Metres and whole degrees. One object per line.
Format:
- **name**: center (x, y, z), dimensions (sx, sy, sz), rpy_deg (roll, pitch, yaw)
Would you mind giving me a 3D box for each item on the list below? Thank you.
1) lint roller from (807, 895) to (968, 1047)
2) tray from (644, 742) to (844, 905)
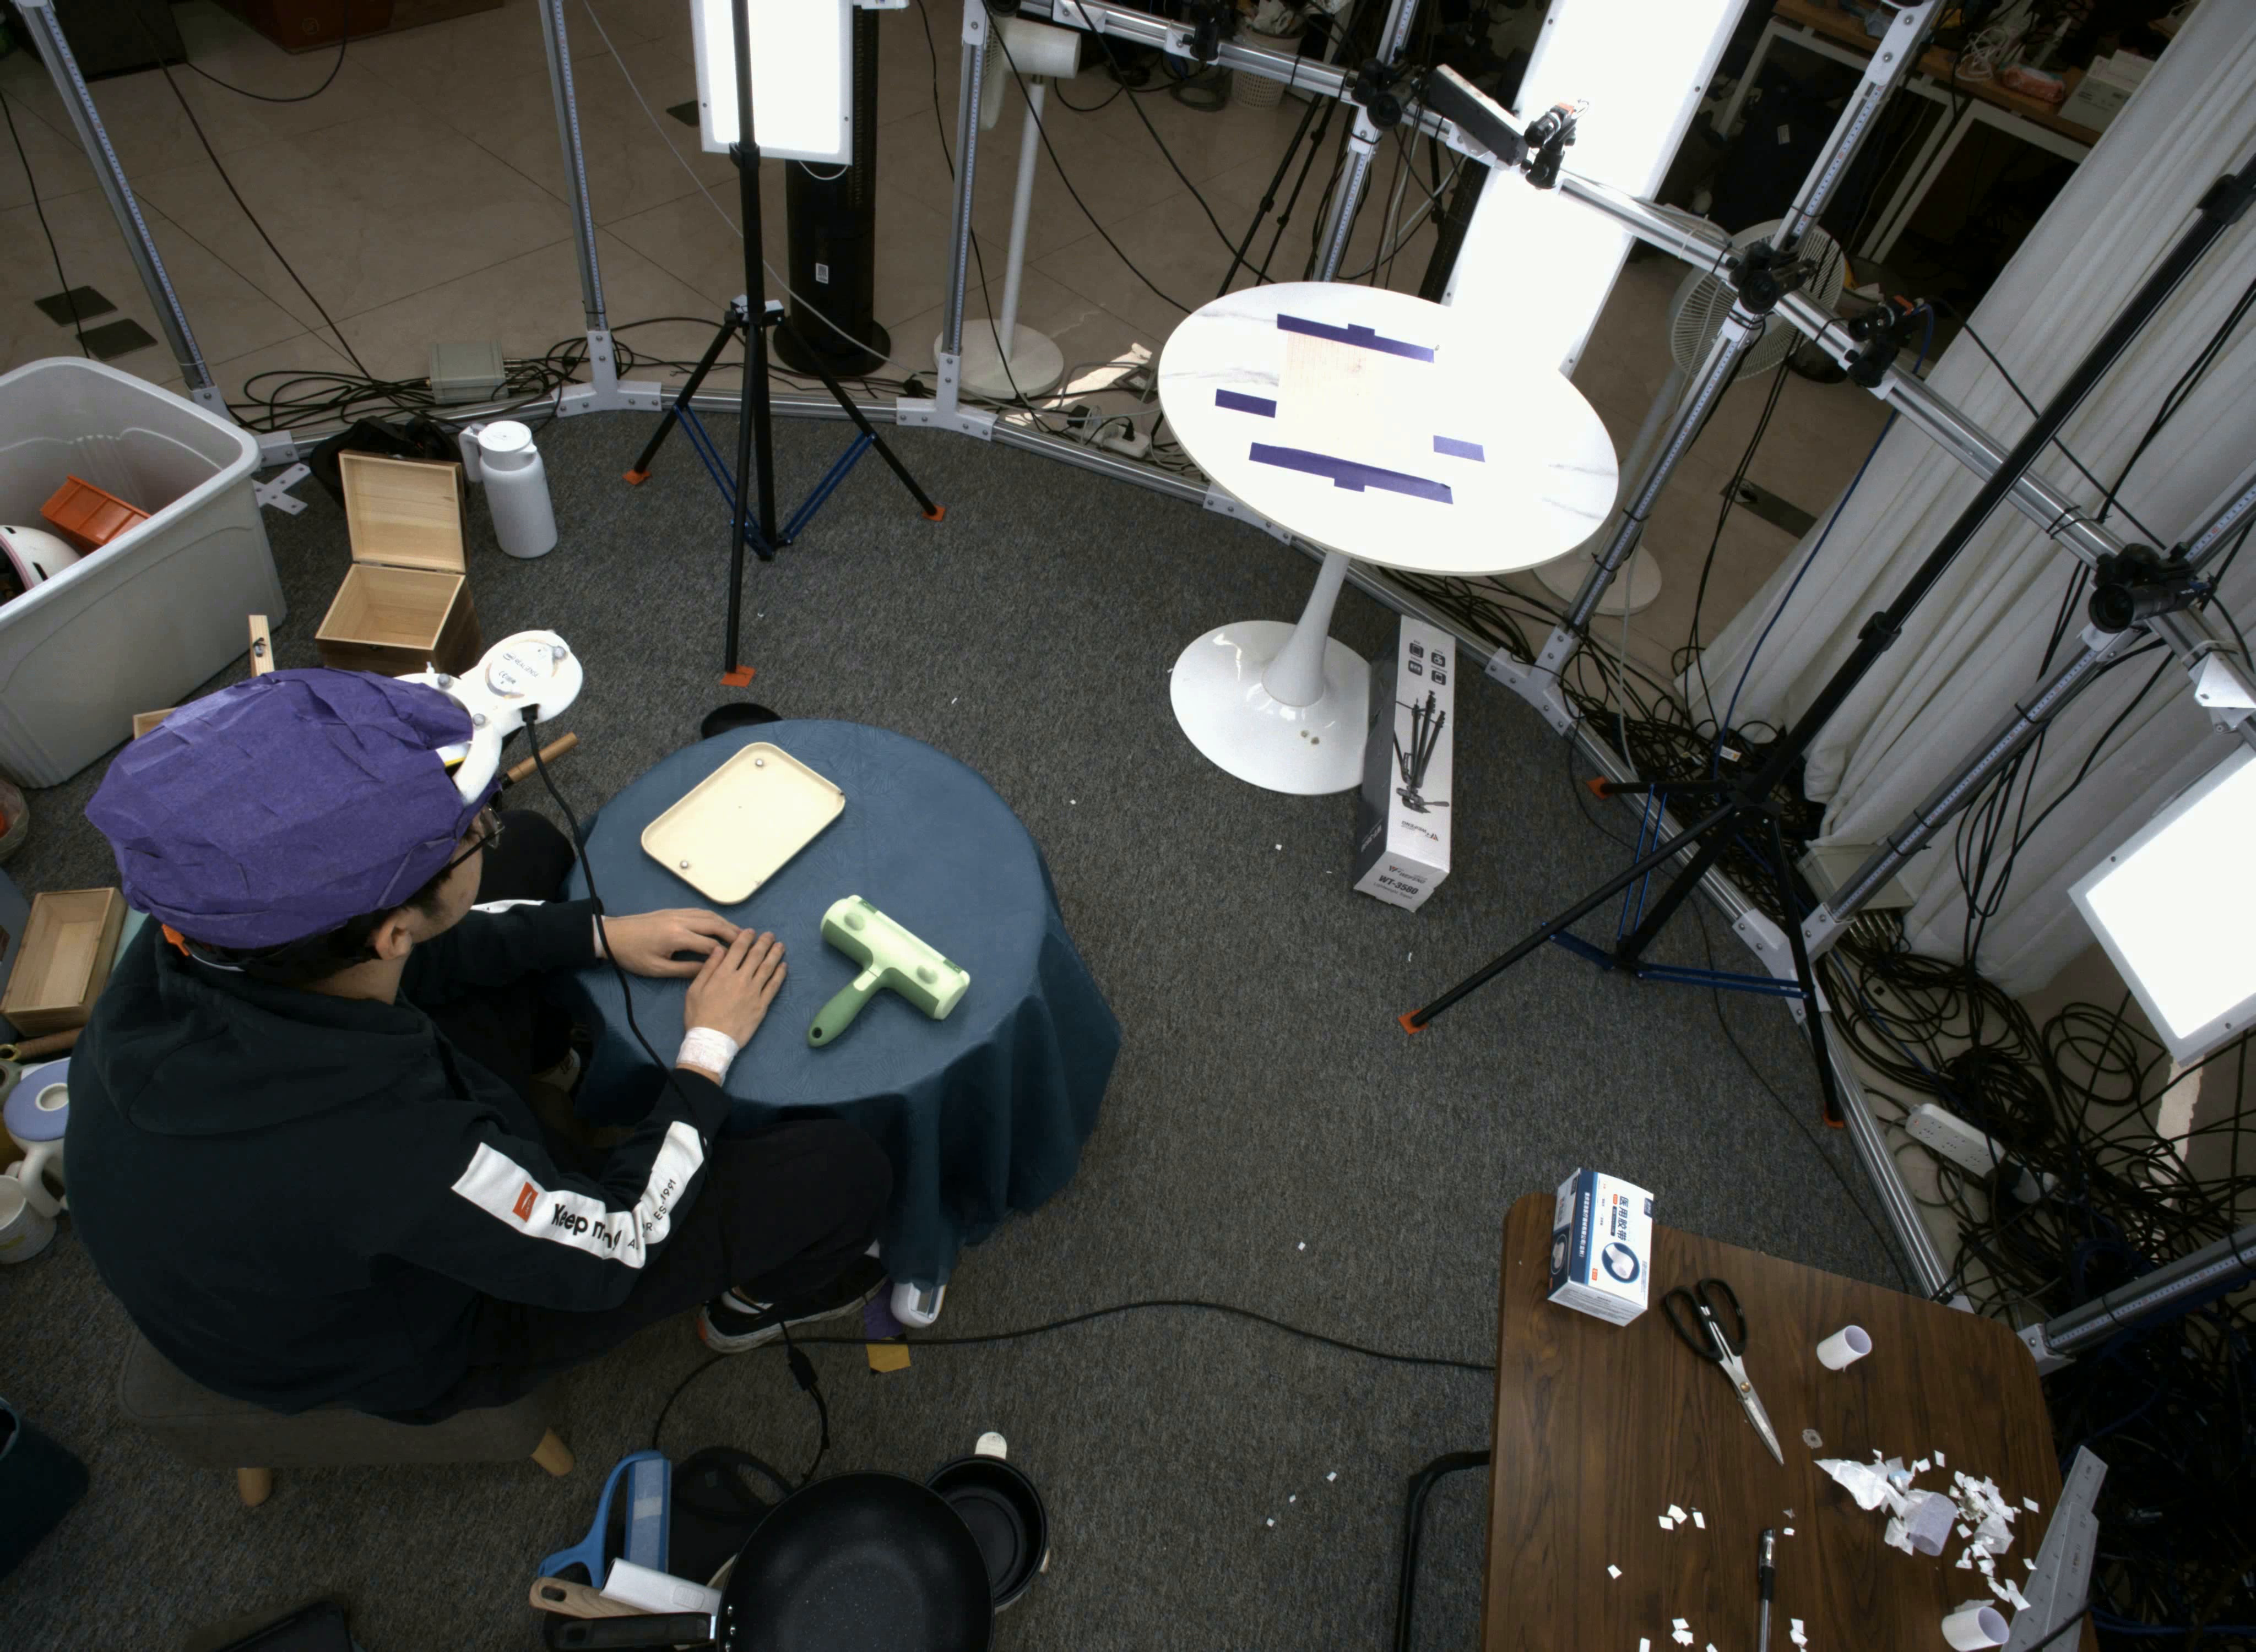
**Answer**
- **lint roller**: center (-0.321, 0.185, 1.570), dimensions (0.195, 0.084, 0.183), rpy_deg (34, 49, 11)
- **tray**: center (-0.503, -0.007, 1.702), dimensions (0.168, 0.018, 0.239), rpy_deg (32, 53, 11)
